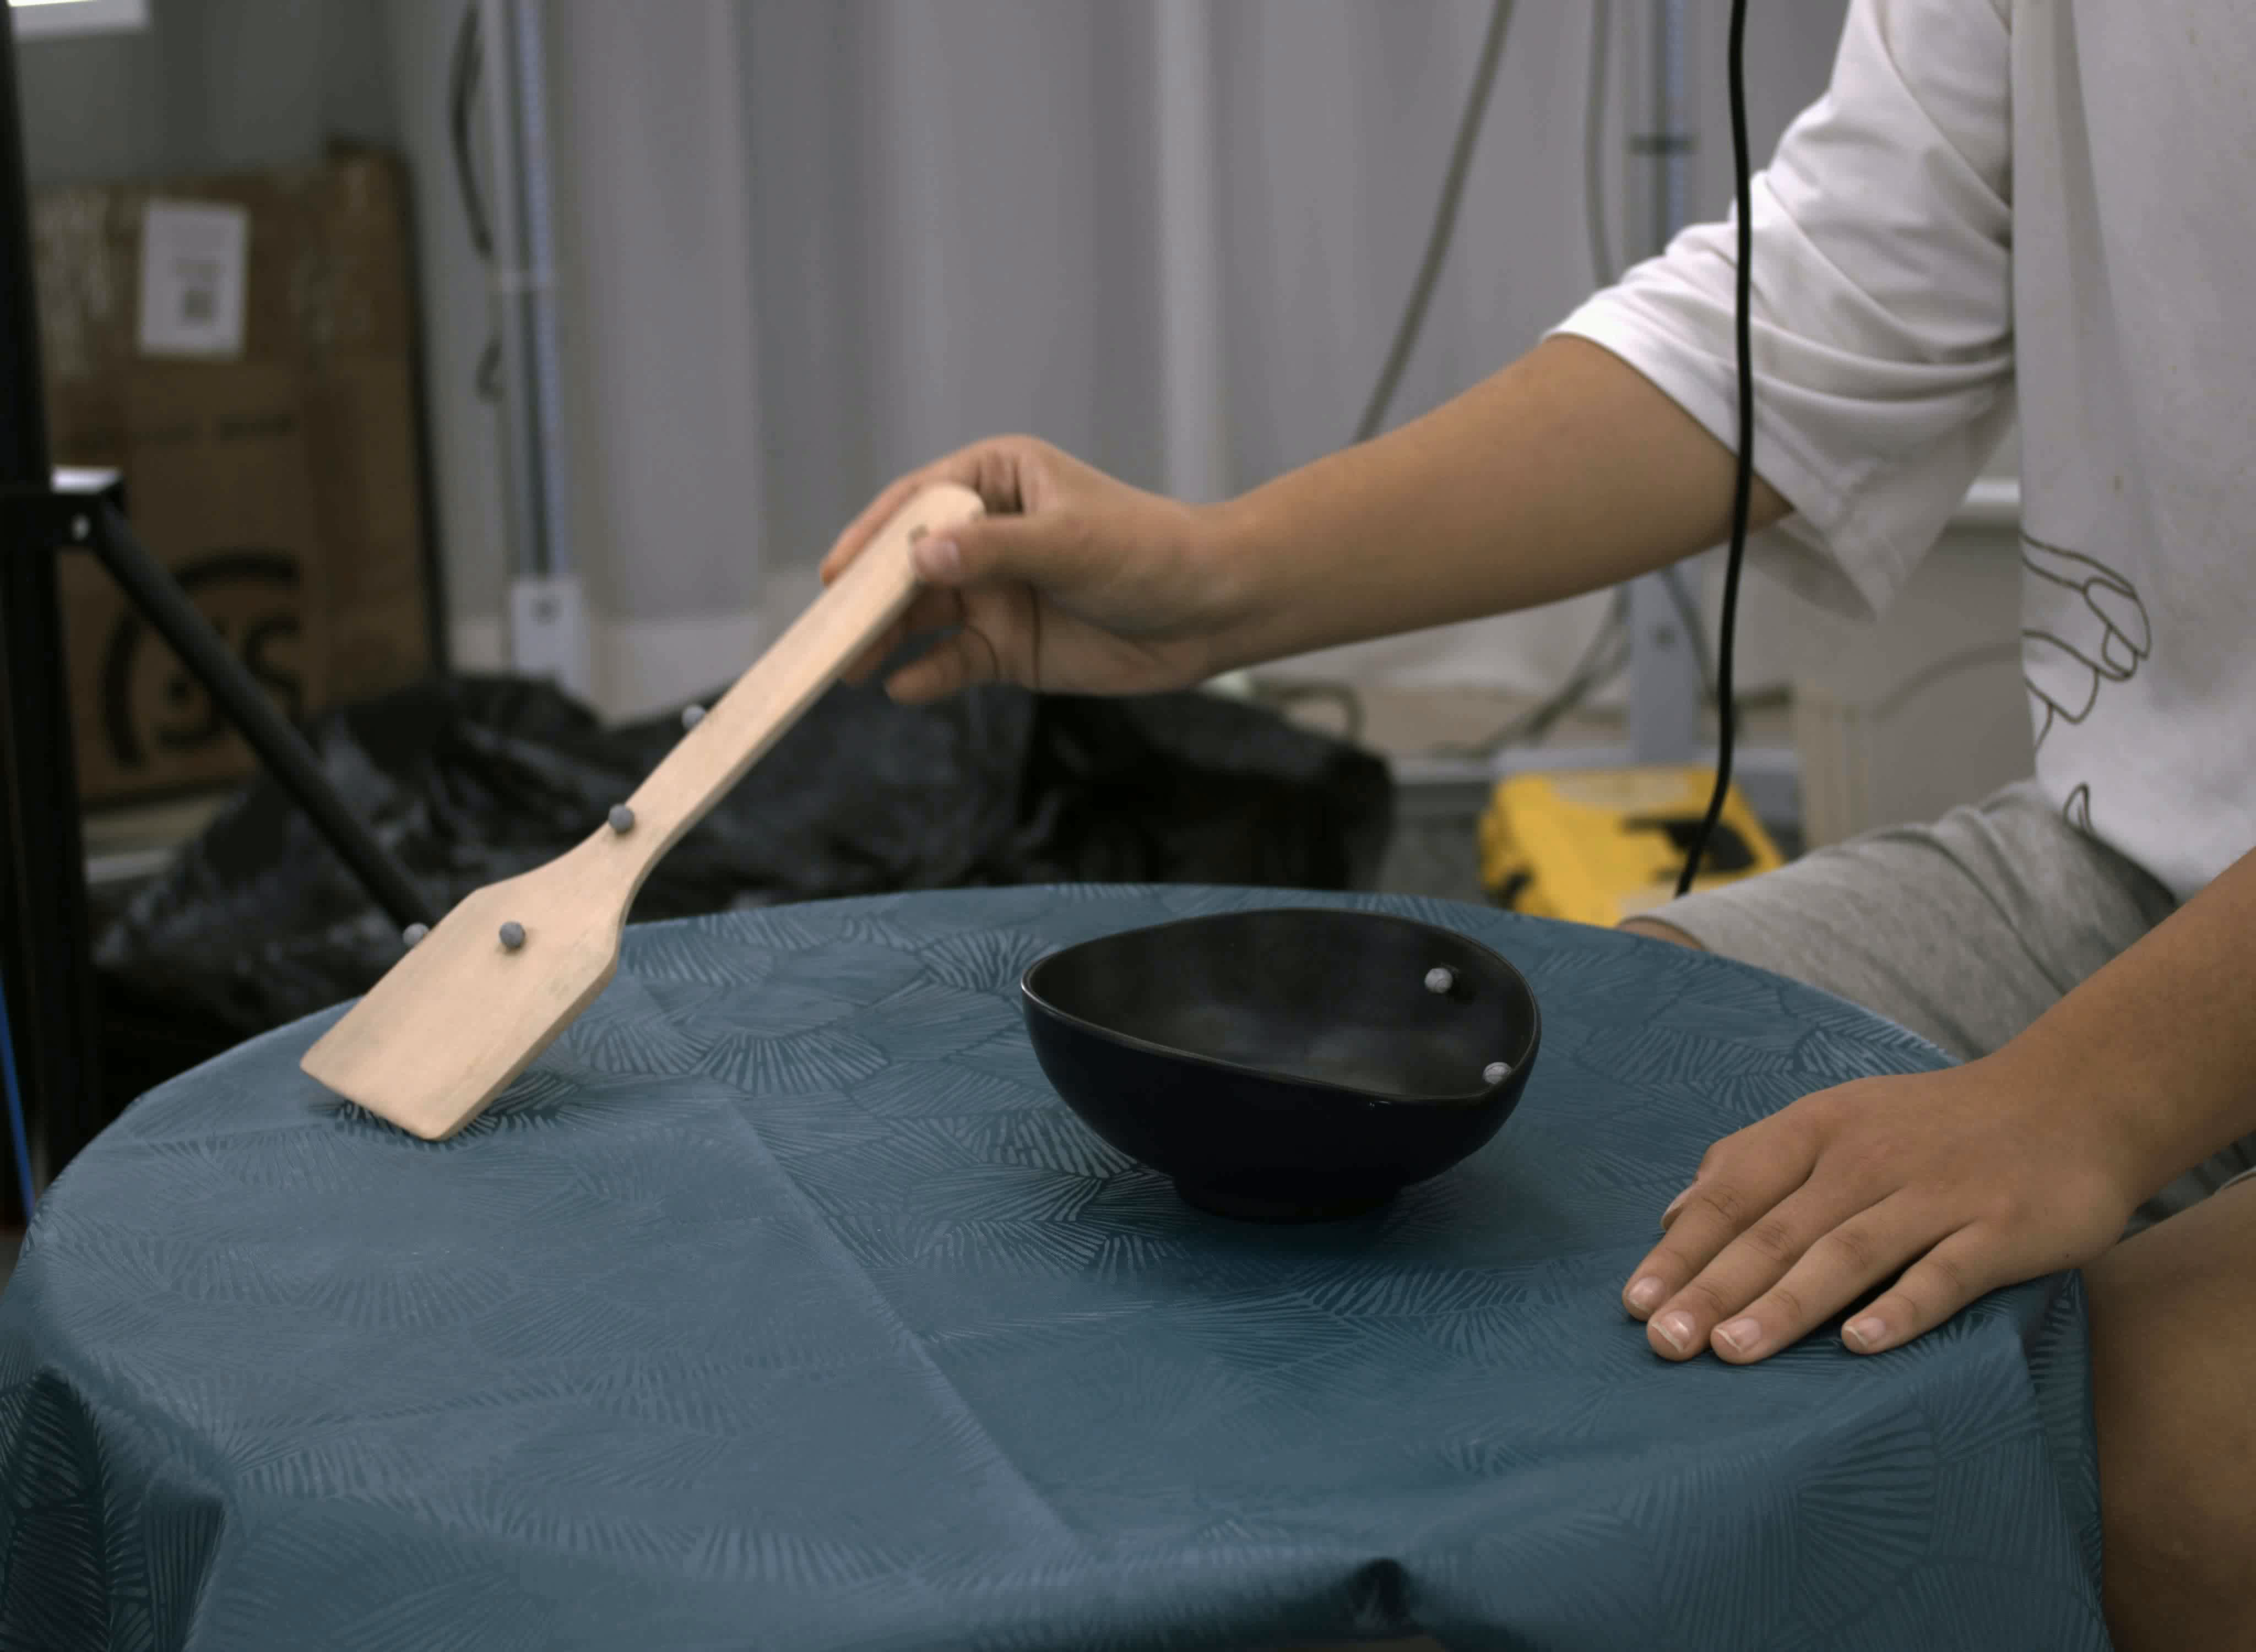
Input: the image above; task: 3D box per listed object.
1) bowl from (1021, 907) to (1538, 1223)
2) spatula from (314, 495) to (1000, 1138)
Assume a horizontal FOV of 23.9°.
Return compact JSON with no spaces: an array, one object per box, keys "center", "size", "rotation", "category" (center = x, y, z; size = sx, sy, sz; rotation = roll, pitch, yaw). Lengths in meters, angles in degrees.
[{"center":[0.045,0.074,1.554],"size":[0.134,0.067,0.174],"rotation":[-16,22,-41],"category":"bowl"},{"center":[-0.141,-0.010,1.709],"size":[0.074,0.010,0.291],"rotation":[24,60,40],"category":"spatula"}]
